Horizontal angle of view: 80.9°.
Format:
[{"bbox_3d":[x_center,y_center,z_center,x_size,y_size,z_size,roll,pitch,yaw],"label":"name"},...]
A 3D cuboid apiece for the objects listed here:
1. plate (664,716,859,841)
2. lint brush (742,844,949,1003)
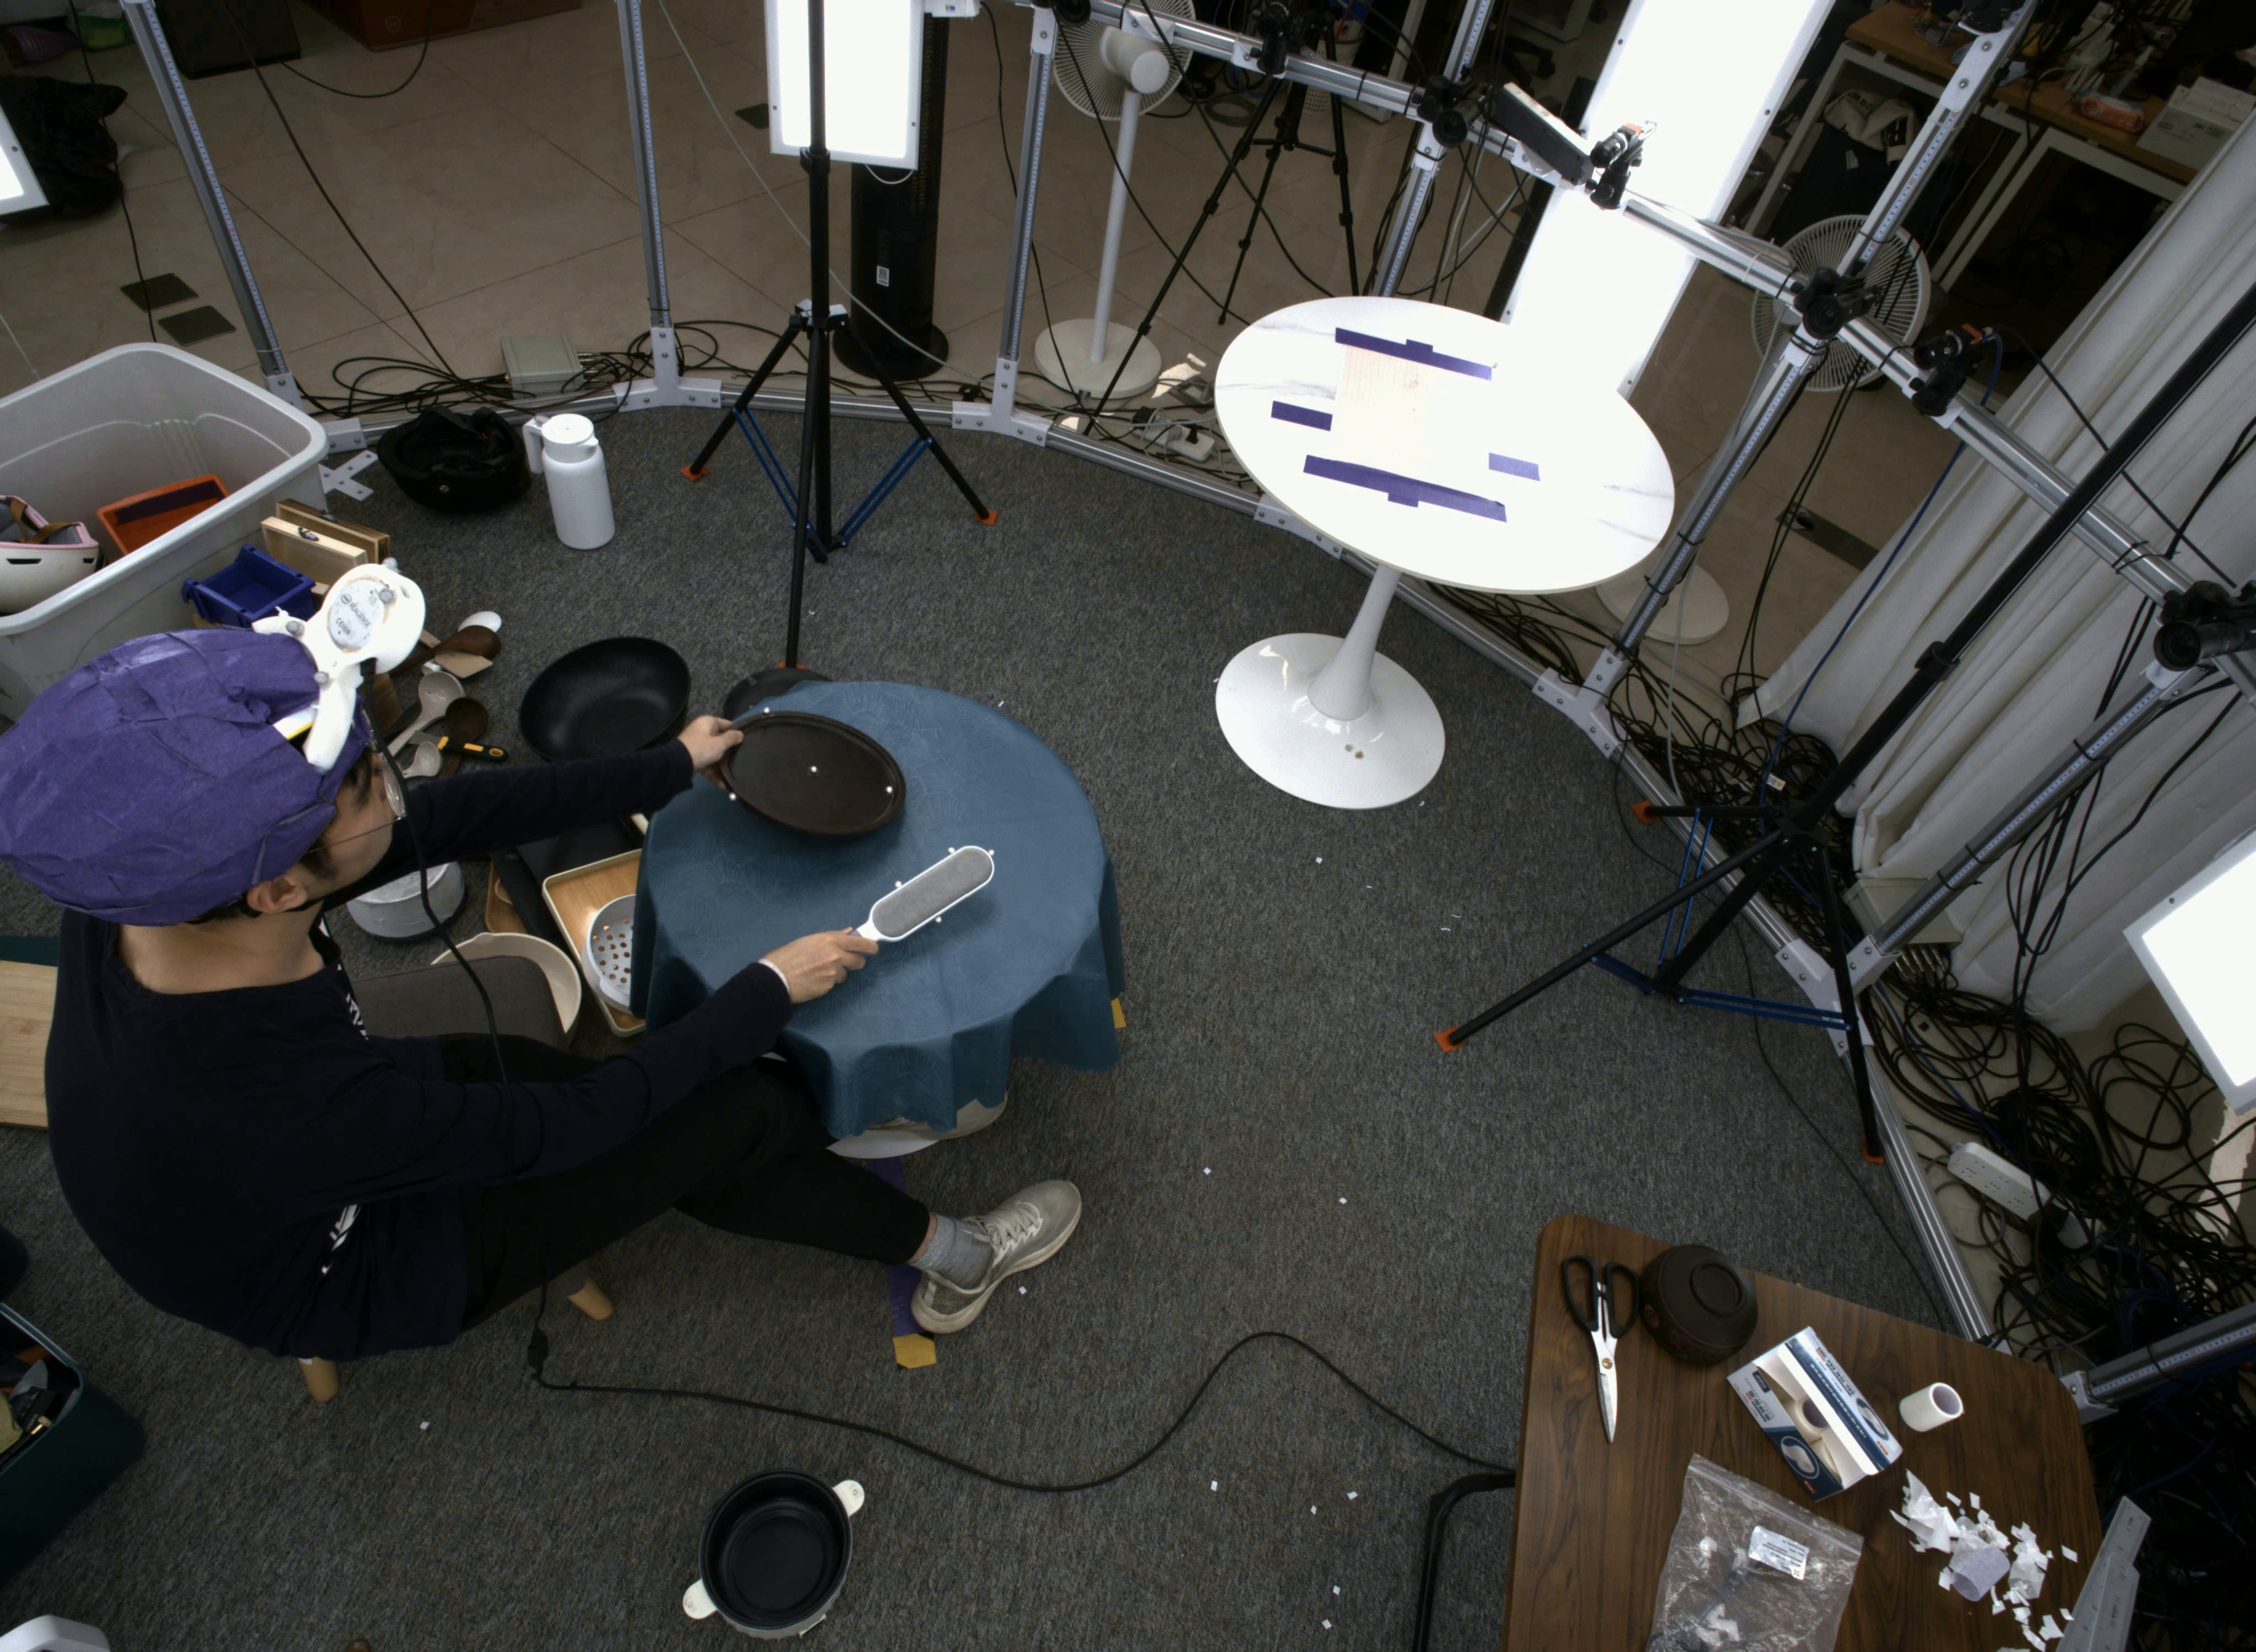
[{"bbox_3d":[-0.483,-0.064,1.702,0.256,0.029,0.249,19,32,-11],"label":"plate"},{"bbox_3d":[-0.346,0.117,1.603,0.309,0.020,0.060,-37,95,-27],"label":"lint brush"}]
